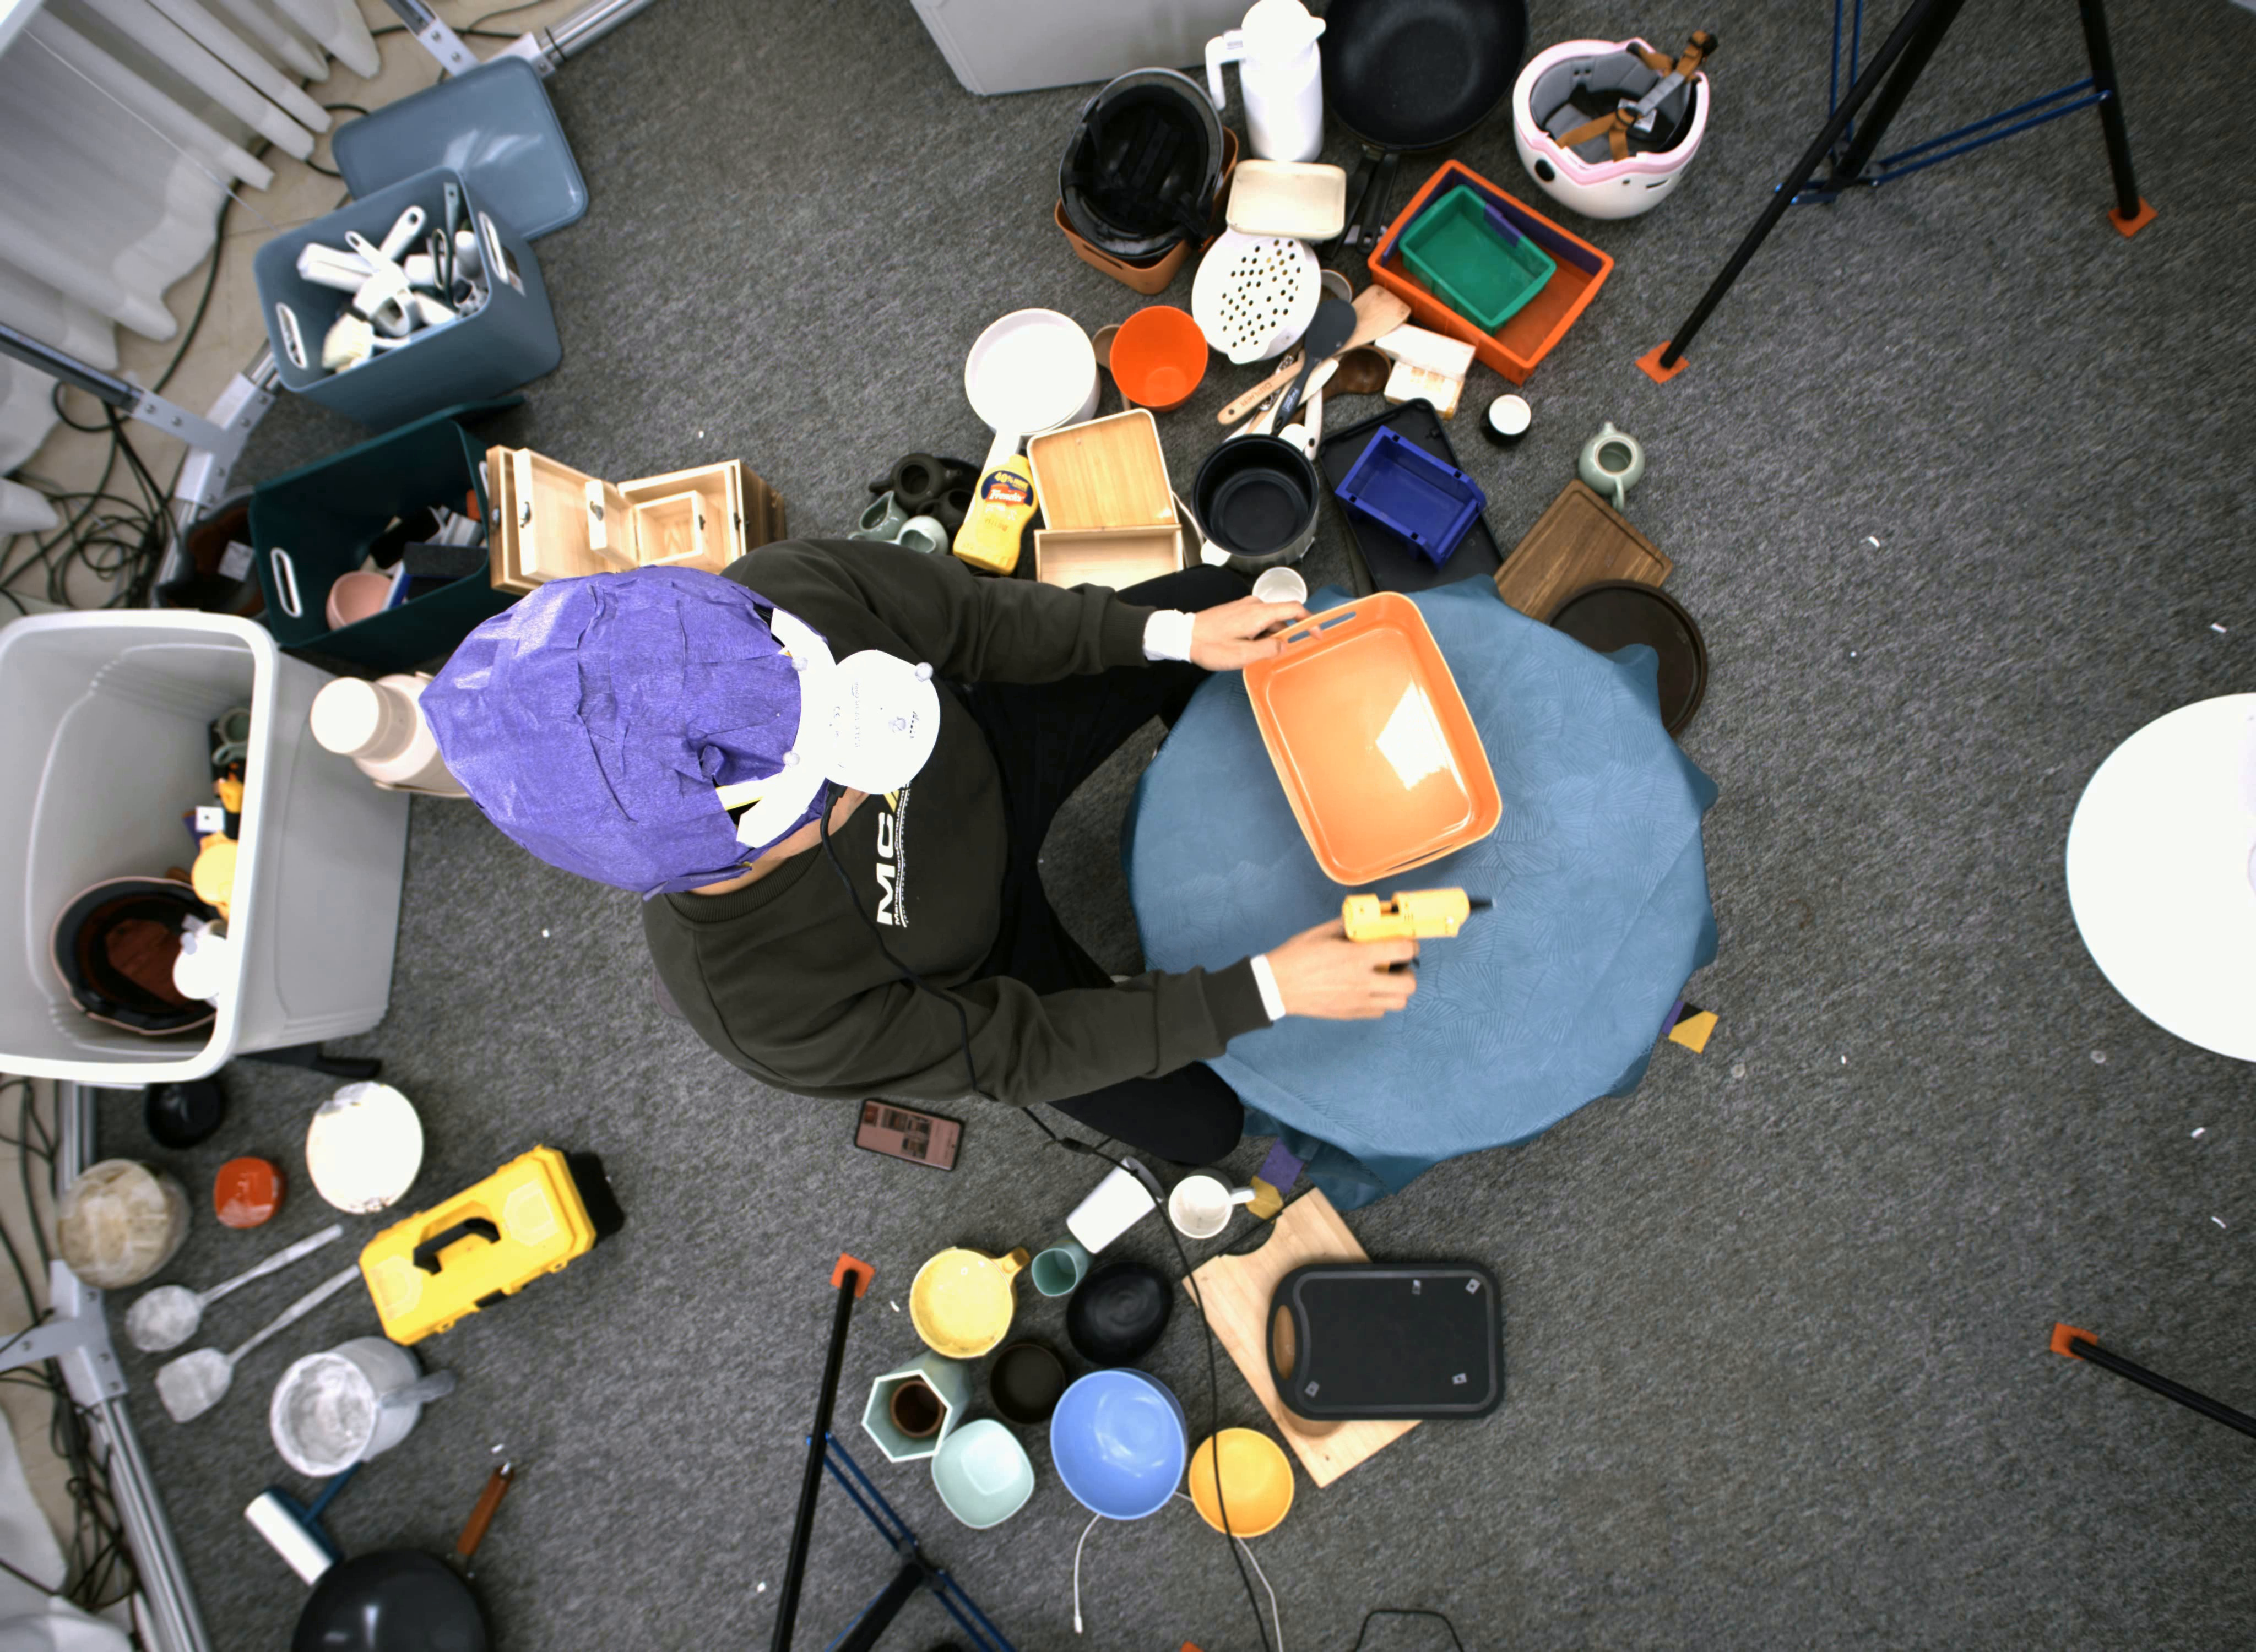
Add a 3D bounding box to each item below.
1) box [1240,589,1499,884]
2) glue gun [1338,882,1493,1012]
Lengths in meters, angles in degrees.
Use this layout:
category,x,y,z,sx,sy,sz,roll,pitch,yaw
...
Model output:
category,x,y,z,sx,sy,sz,roll,pitch,yaw
box,0.246,-0.087,1.418,0.201,0.102,0.272,-23,86,9
glue gun,0.274,0.108,1.311,0.151,0.030,0.136,-8,120,-7
